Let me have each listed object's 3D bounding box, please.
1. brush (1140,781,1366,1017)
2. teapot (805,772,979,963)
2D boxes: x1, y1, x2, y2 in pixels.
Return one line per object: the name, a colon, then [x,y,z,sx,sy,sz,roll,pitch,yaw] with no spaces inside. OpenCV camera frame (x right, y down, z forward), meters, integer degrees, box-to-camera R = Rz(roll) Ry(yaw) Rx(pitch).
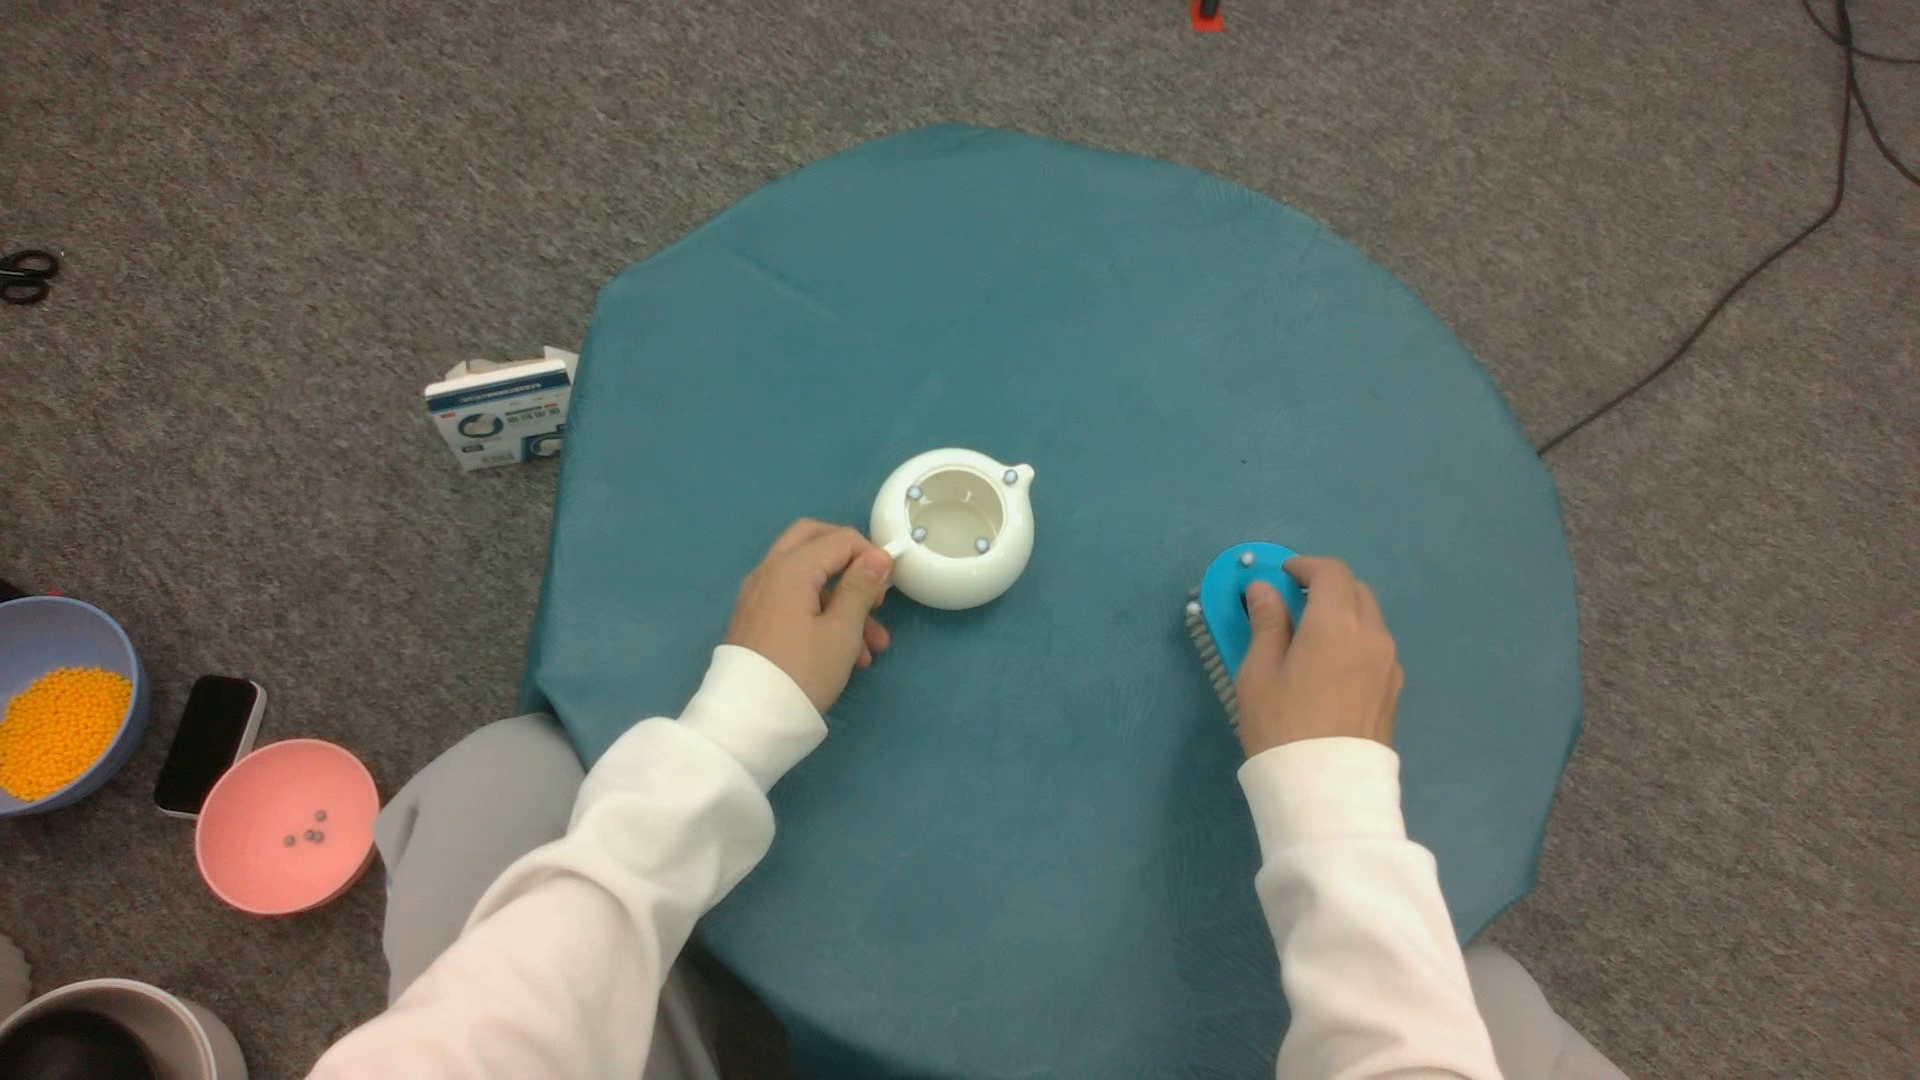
brush: [0.165,0.187,0.762,0.084,0.063,0.142,-27,58,-24]
teapot: [-0.042,0.187,0.779,0.093,0.056,0.128,32,61,17]
